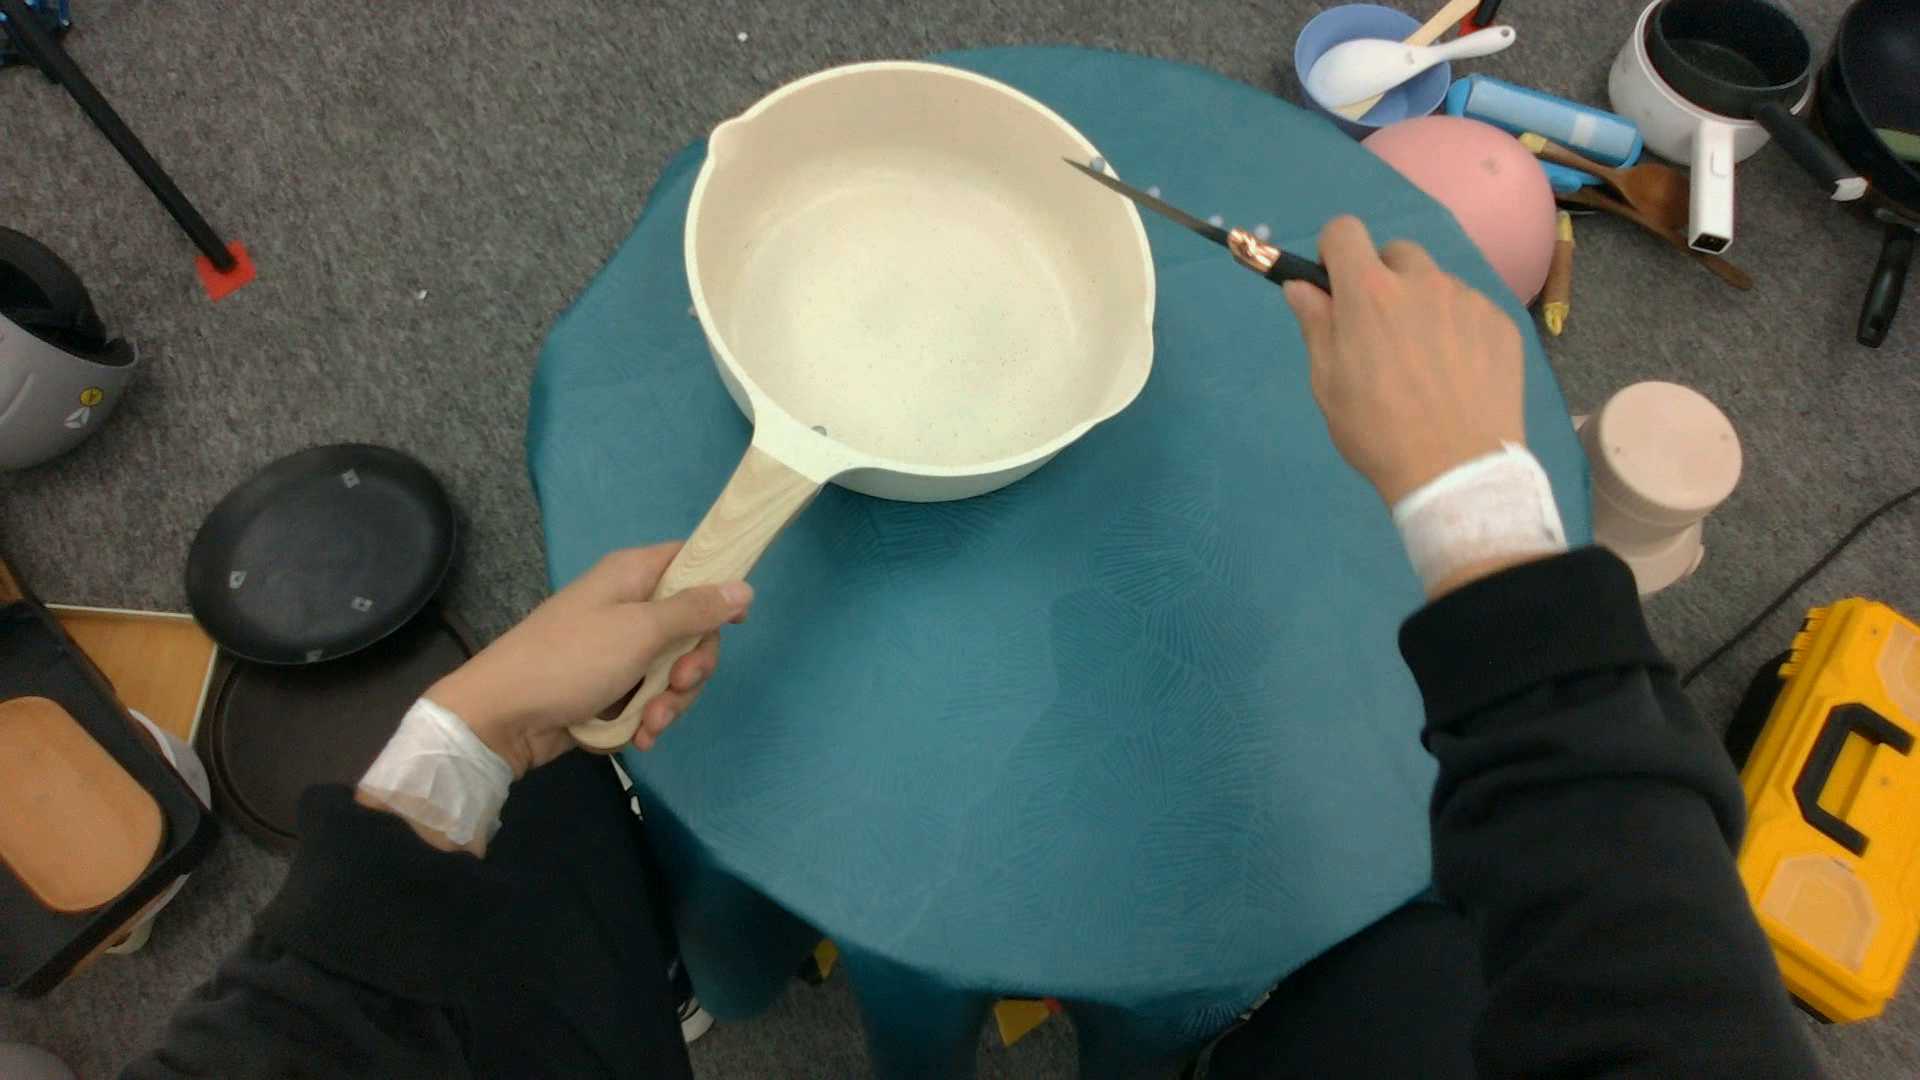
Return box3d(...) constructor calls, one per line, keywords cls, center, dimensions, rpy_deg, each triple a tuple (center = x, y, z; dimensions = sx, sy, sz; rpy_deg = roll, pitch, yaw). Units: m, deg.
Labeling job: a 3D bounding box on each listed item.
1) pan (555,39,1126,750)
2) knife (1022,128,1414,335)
box3d(cls="pan", center=(-0.080, -0.075, 0.716), dimensions=(0.263, 0.101, 0.436), rpy_deg=(30, 66, -2))
box3d(cls="knife", center=(0.117, -0.153, 0.662), dimensions=(0.225, 0.026, 0.017), rpy_deg=(35, 107, 28))
